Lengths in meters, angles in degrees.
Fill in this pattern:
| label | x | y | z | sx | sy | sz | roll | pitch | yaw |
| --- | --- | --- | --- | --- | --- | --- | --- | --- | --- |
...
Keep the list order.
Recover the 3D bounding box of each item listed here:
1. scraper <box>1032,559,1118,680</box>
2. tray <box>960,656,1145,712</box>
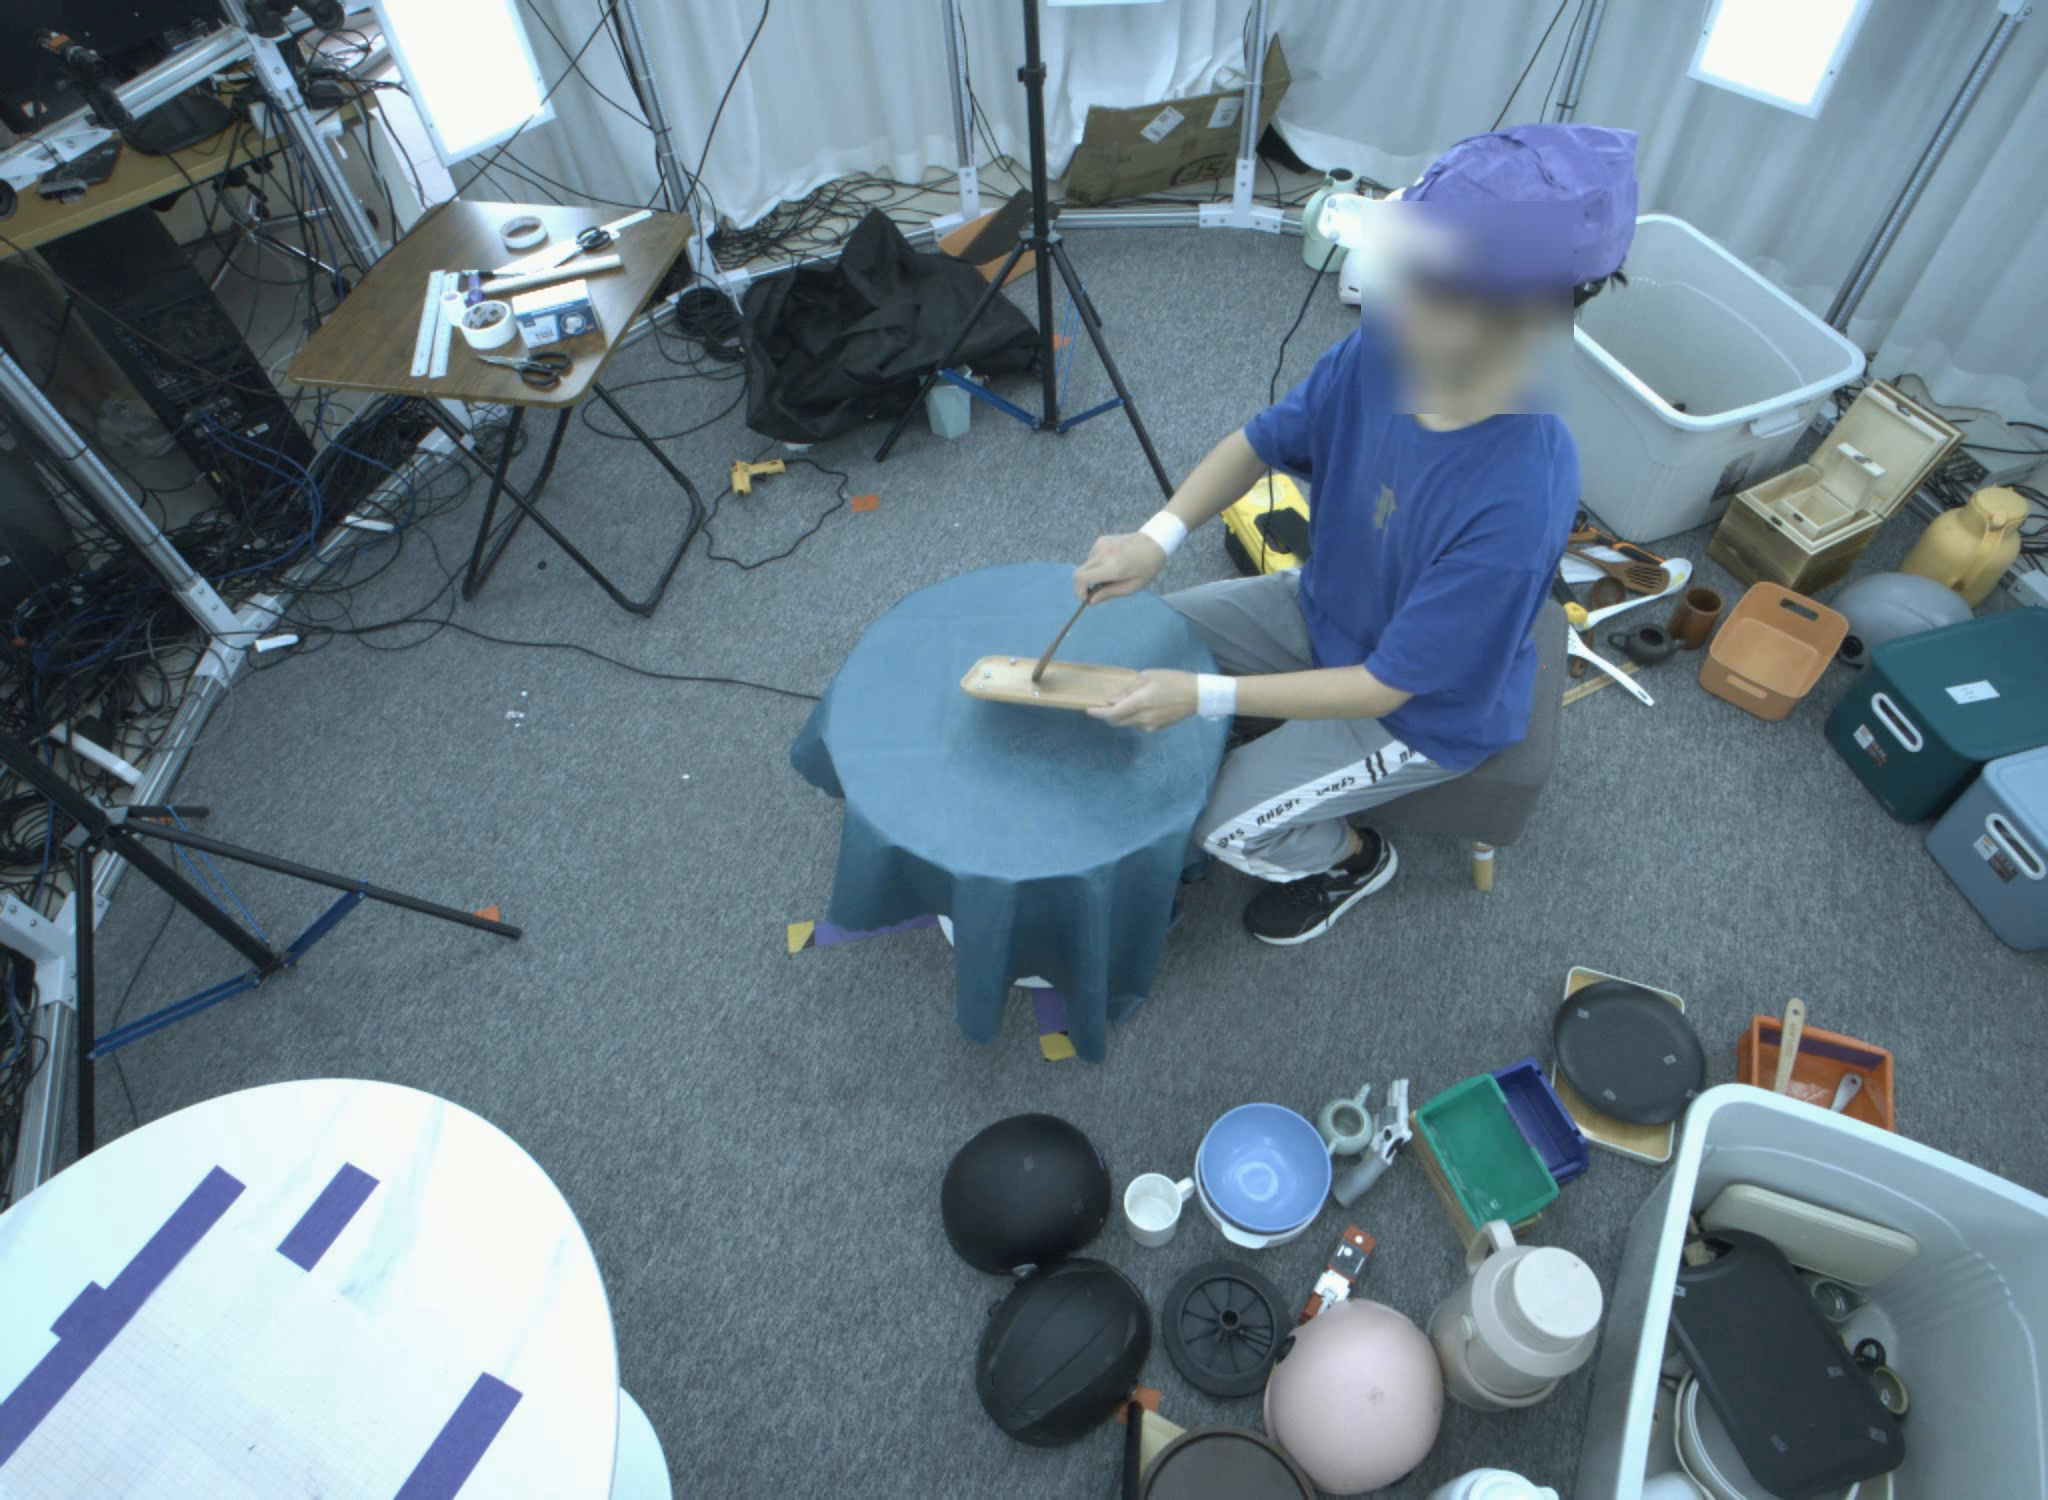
| label | x | y | z | sx | sy | sz | roll | pitch | yaw |
| --- | --- | --- | --- | --- | --- | --- | --- | --- | --- |
| scraper | 0.072 | -0.187 | 1.743 | 0.011 | 0.075 | 0.211 | 36 | 80 | -6 |
| tray | 0.041 | -0.095 | 1.744 | 0.248 | 0.023 | 0.131 | 8 | 31 | 16 |
